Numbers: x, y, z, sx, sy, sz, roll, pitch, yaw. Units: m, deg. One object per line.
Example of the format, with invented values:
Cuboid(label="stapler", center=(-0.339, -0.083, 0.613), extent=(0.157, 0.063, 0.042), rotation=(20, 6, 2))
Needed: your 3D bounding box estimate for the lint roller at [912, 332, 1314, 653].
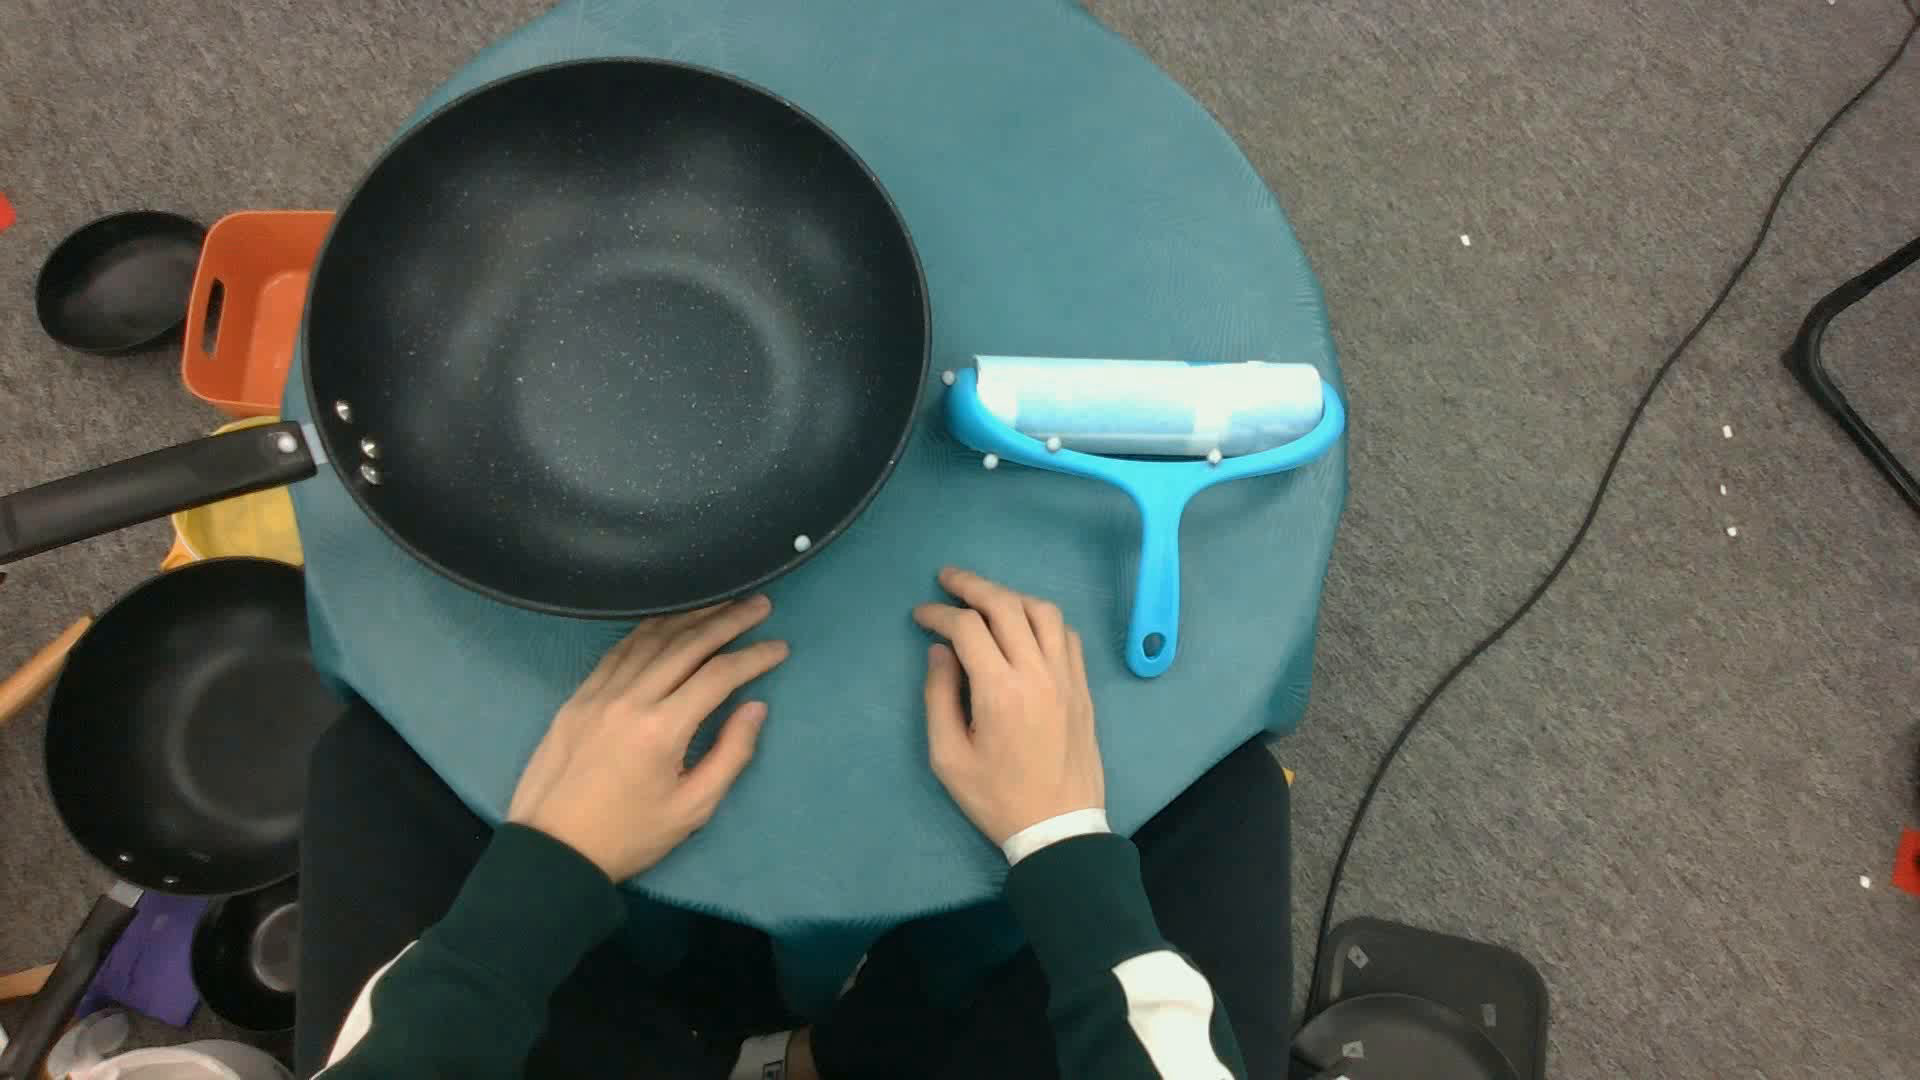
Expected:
Cuboid(label="lint roller", center=(0.094, -0.033, 0.759), extent=(0.229, 0.067, 0.180), rotation=(-4, 72, -11))

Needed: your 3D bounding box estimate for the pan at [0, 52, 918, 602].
Cuboid(label="pan", center=(-0.251, -0.074, 0.702), extent=(0.478, 0.111, 0.310), rotation=(-26, 76, -14))
